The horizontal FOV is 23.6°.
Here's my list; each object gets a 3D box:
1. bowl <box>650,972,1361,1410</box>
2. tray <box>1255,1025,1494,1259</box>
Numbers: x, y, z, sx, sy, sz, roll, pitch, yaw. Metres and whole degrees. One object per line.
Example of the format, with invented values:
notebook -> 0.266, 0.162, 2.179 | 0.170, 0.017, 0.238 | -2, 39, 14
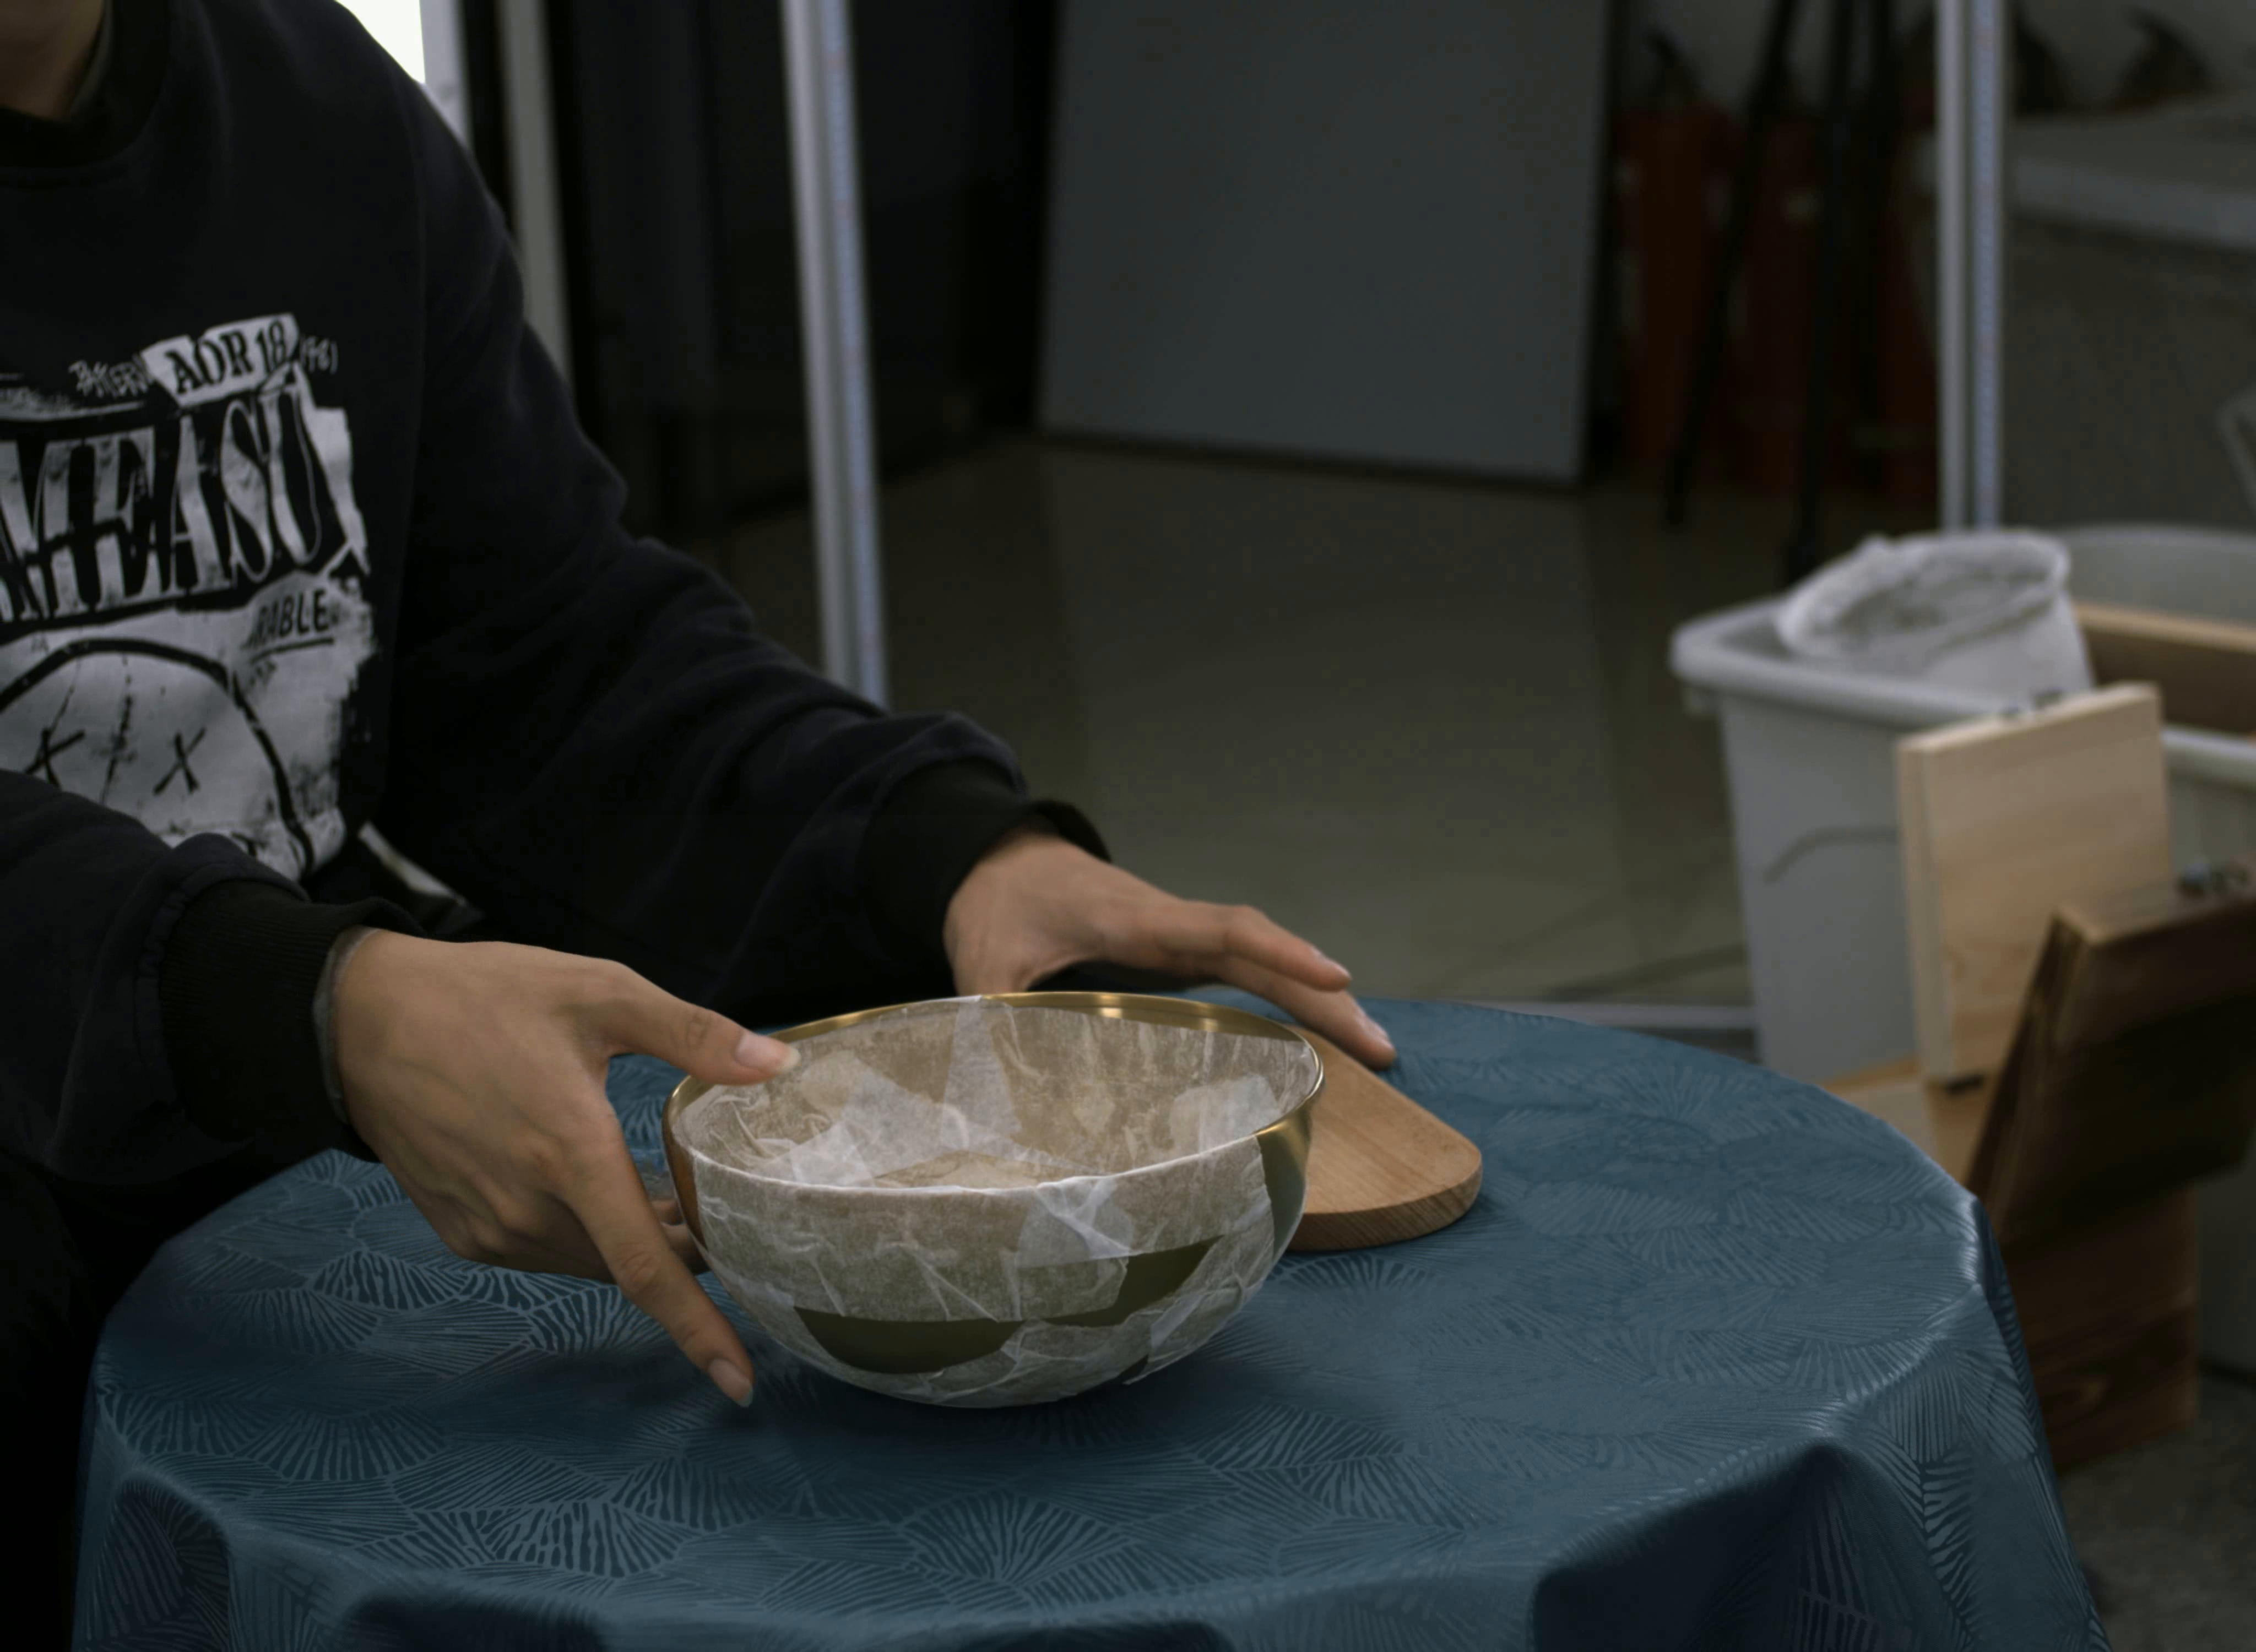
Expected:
bowl -> -0.034, 0.117, 1.603 | 0.212, 0.095, 0.215 | -5, 14, 0
tray -> 0.046, 0.103, 1.798 | 0.099, 0.020, 0.233 | -11, 17, -18
